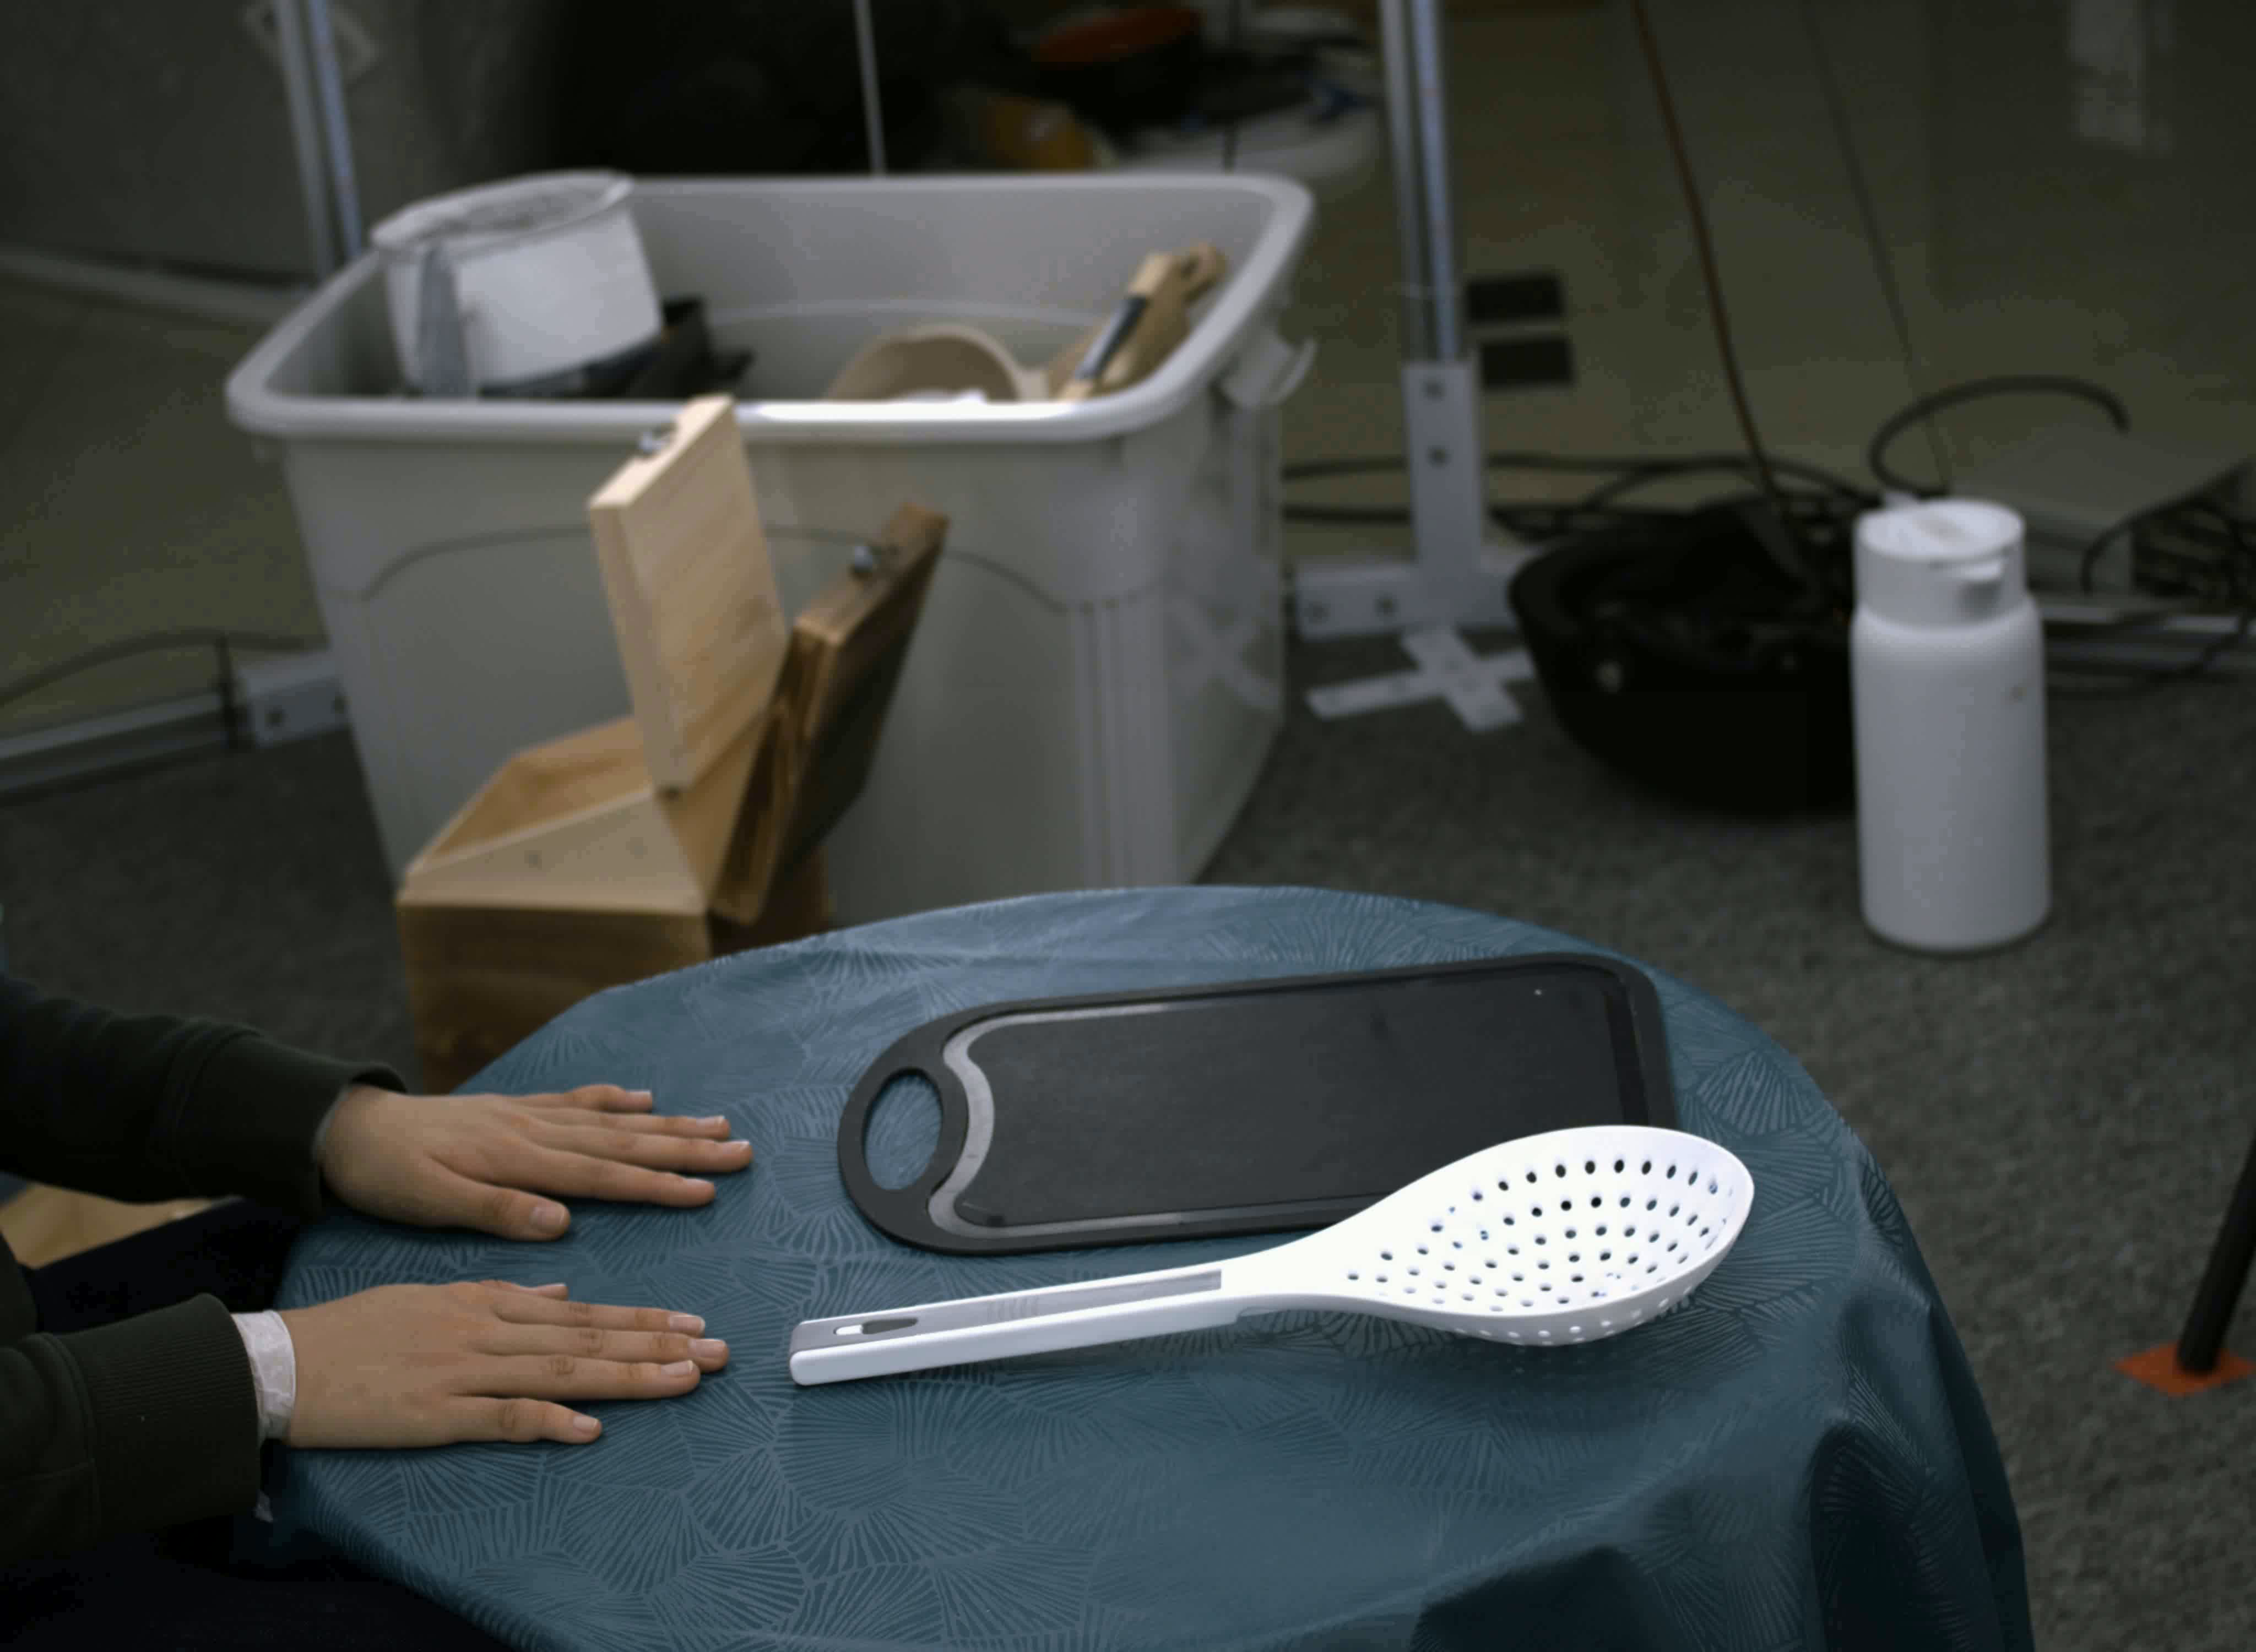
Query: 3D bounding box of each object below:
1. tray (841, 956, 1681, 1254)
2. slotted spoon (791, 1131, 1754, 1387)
[{"bbox_3d":[0.049,0.106,2.203,0.325,0.010,0.208,-5,24,4],"label":"tray"},{"bbox_3d":[0.050,0.164,2.032,0.349,0.046,0.134,-5,23,5],"label":"slotted spoon"}]
